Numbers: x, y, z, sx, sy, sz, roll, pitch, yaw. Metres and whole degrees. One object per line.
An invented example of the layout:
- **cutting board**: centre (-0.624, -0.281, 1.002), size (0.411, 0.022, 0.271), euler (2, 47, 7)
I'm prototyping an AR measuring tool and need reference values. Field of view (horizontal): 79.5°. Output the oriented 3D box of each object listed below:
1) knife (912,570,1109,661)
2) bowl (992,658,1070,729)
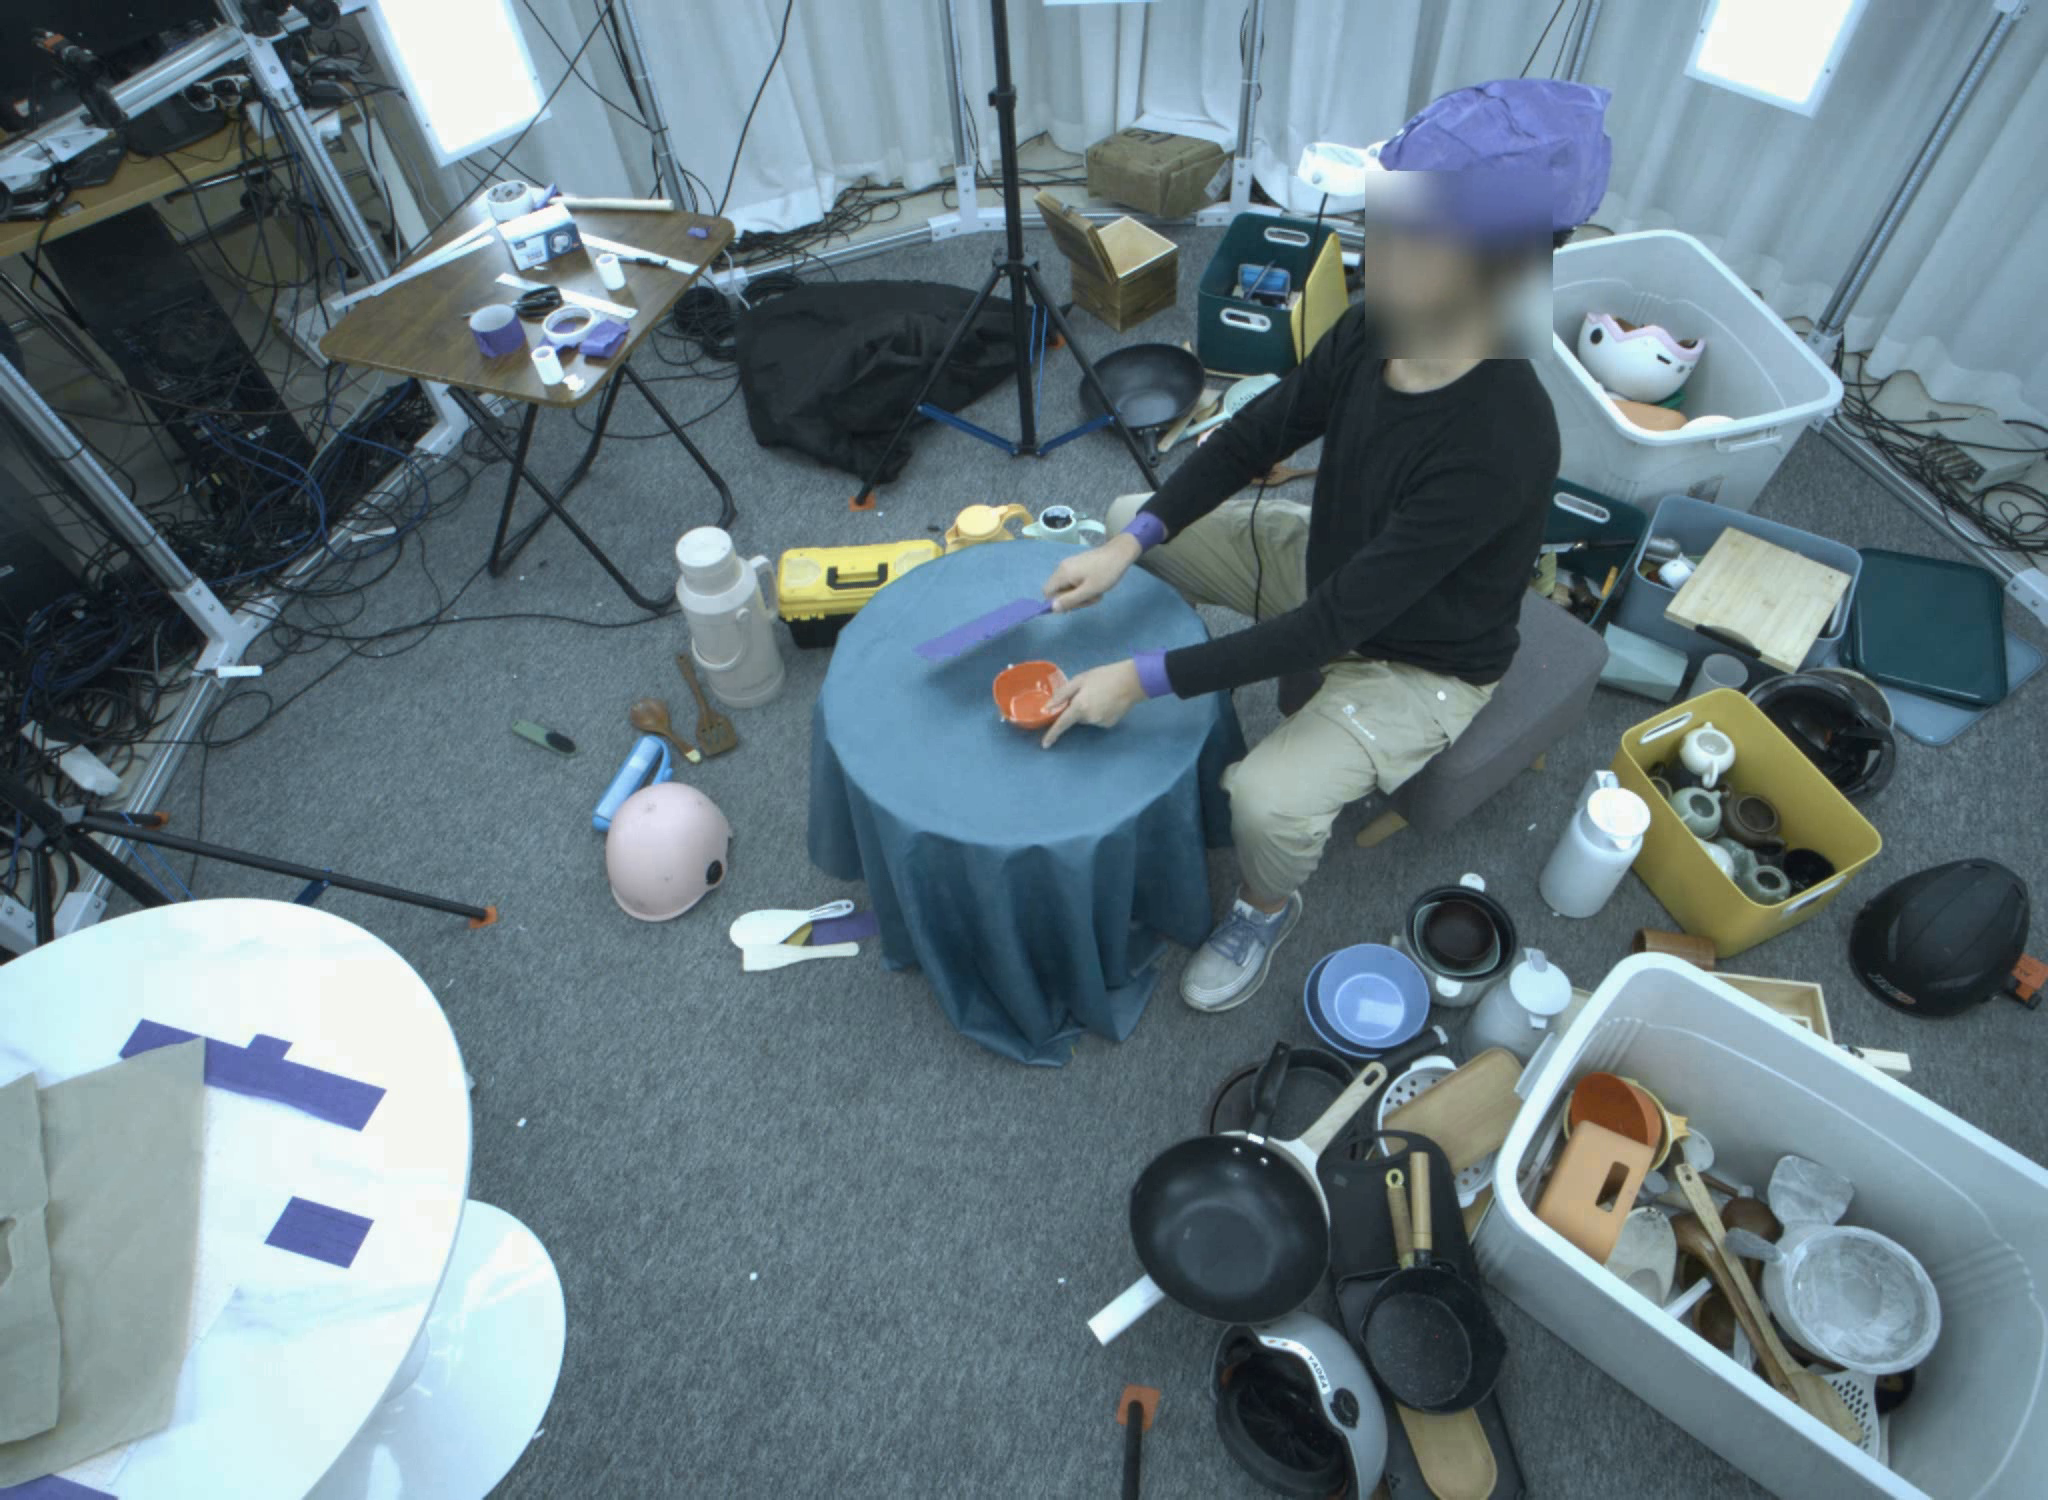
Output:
- **knife**: centre (-0.022, -0.208, 1.848), size (0.319, 0.032, 0.101), euler (-26, 29, -24)
- **bowl**: centre (0.012, -0.074, 1.800), size (0.118, 0.052, 0.118), euler (-2, 55, 4)
